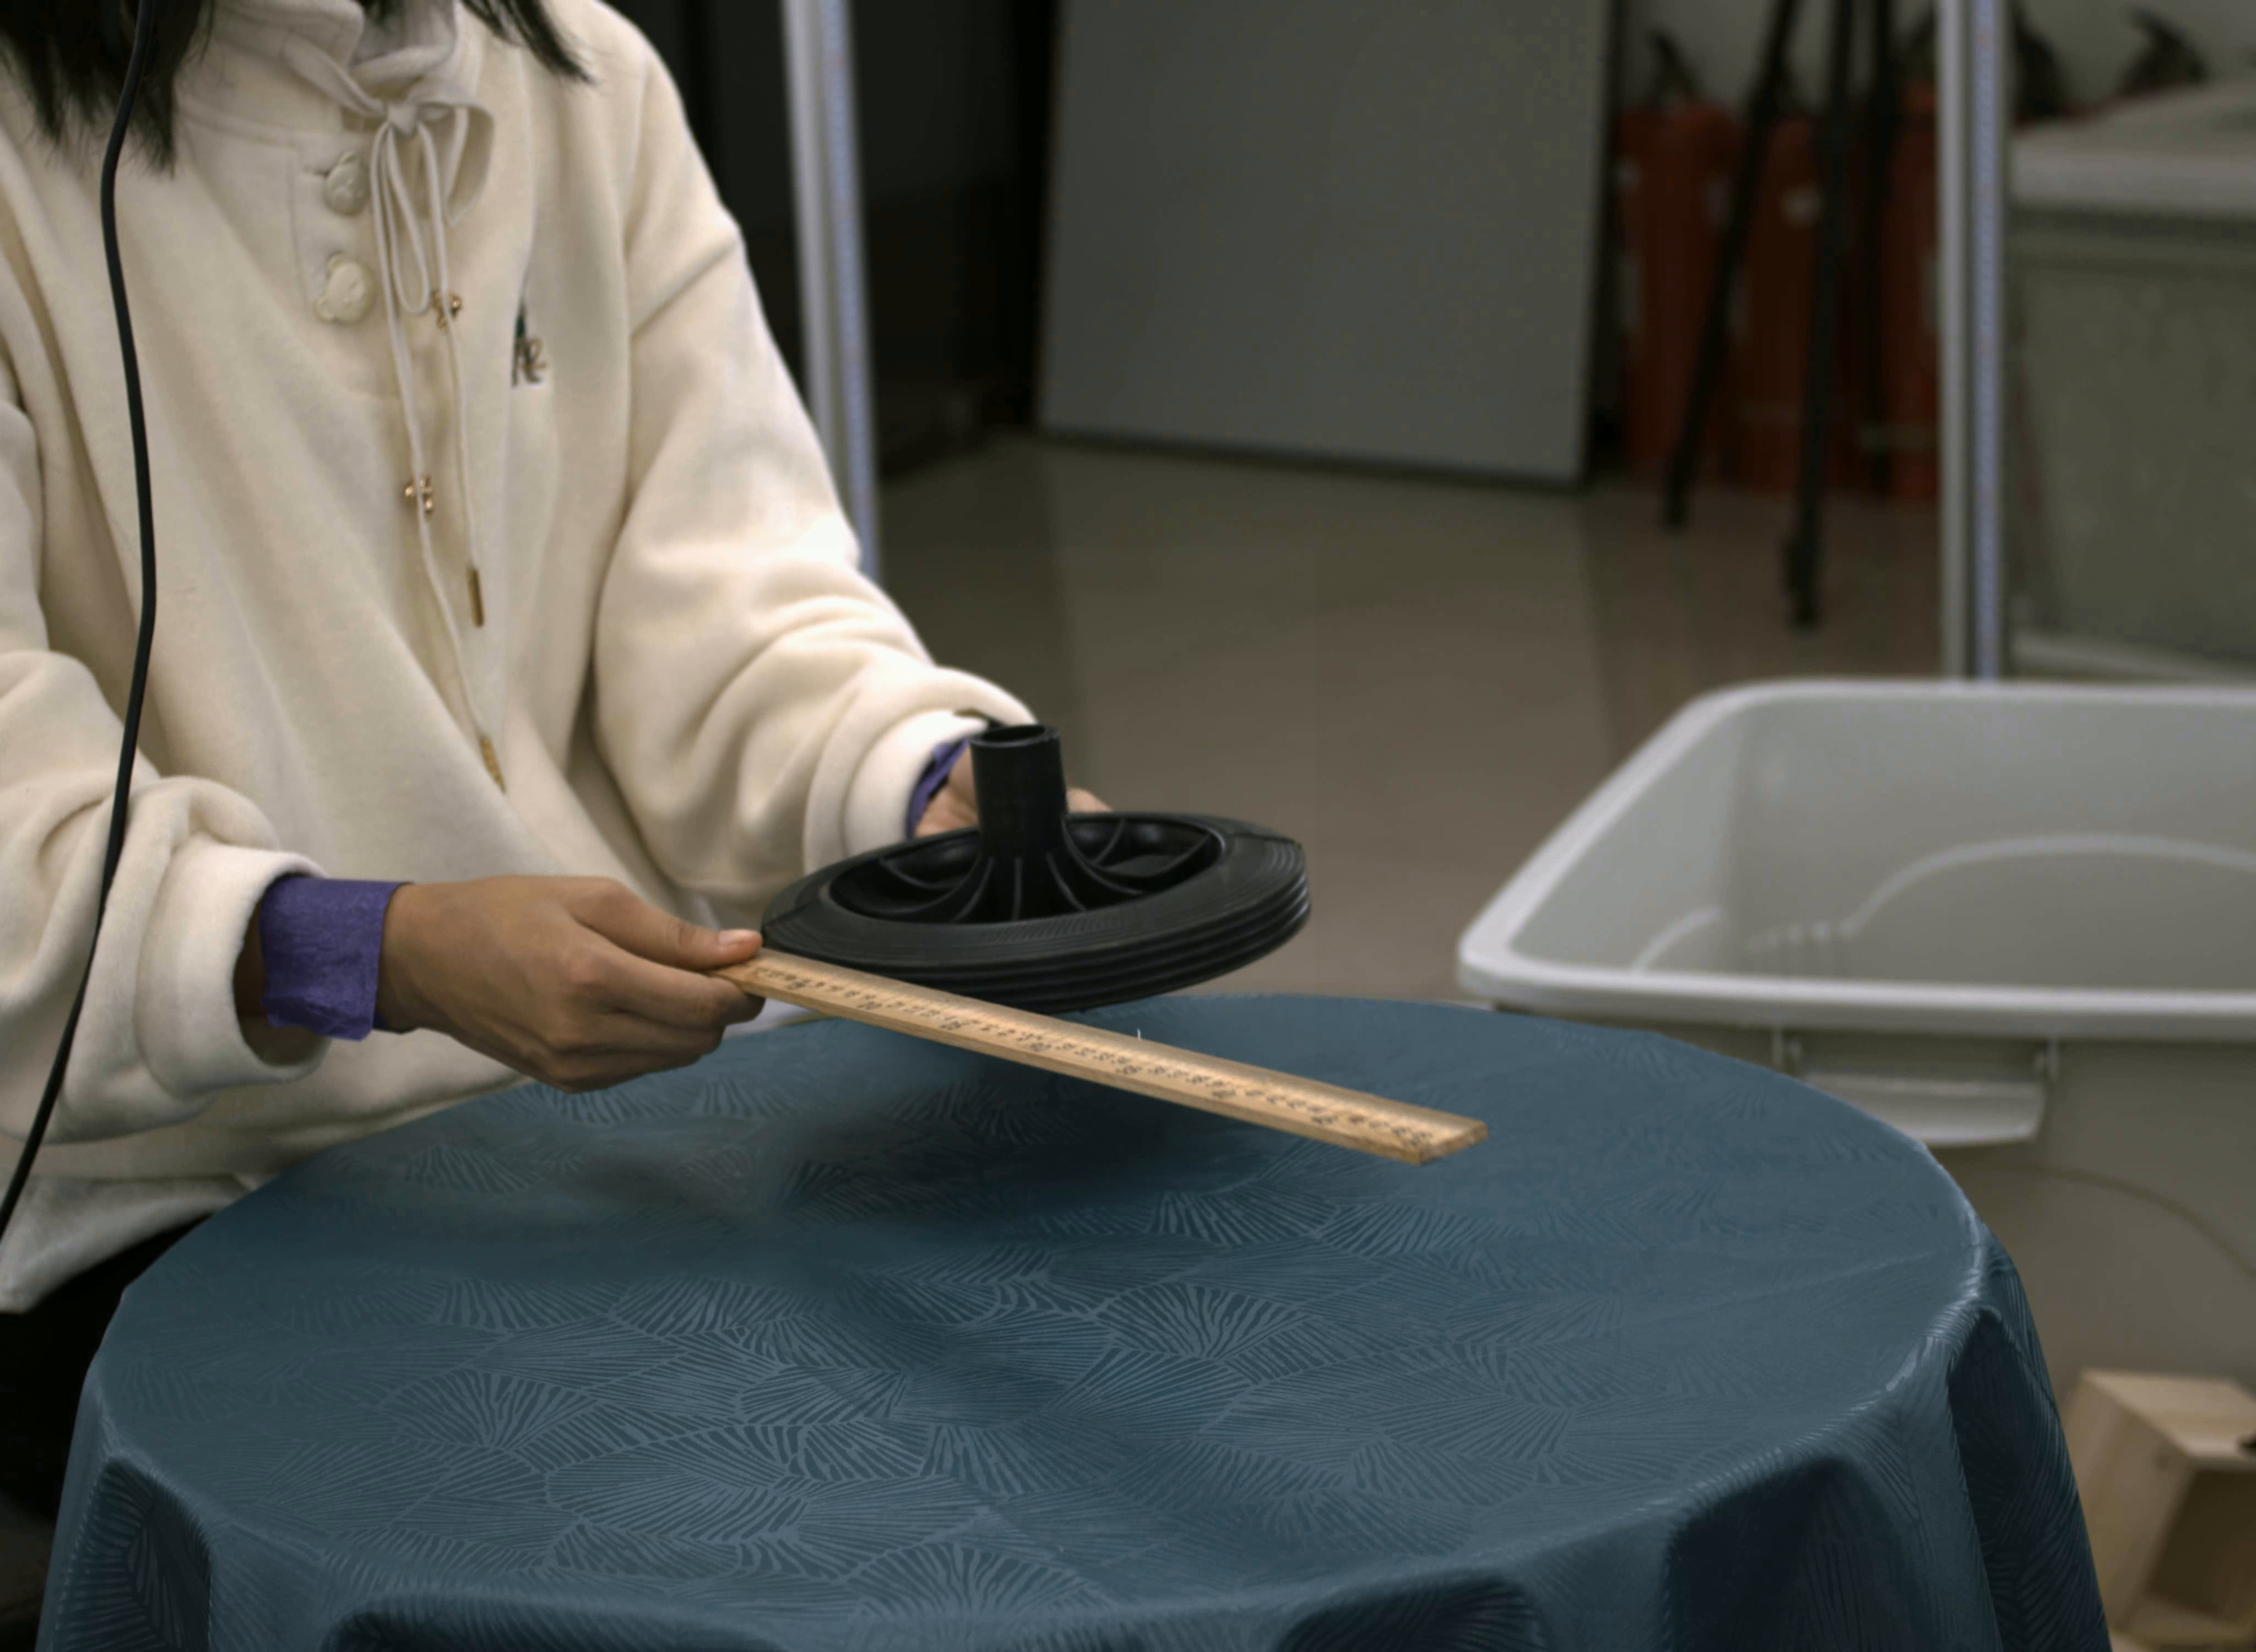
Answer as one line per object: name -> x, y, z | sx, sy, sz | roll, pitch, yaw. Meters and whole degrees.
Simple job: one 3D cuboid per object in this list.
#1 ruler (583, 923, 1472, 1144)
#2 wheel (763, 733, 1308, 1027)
ruler -> -0.048, 0.059, 1.657 | 0.026, 0.006, 0.506 | -21, 15, -28
wheel -> -0.033, 0.011, 1.820 | 0.188, 0.080, 0.187 | -1, 14, 28
